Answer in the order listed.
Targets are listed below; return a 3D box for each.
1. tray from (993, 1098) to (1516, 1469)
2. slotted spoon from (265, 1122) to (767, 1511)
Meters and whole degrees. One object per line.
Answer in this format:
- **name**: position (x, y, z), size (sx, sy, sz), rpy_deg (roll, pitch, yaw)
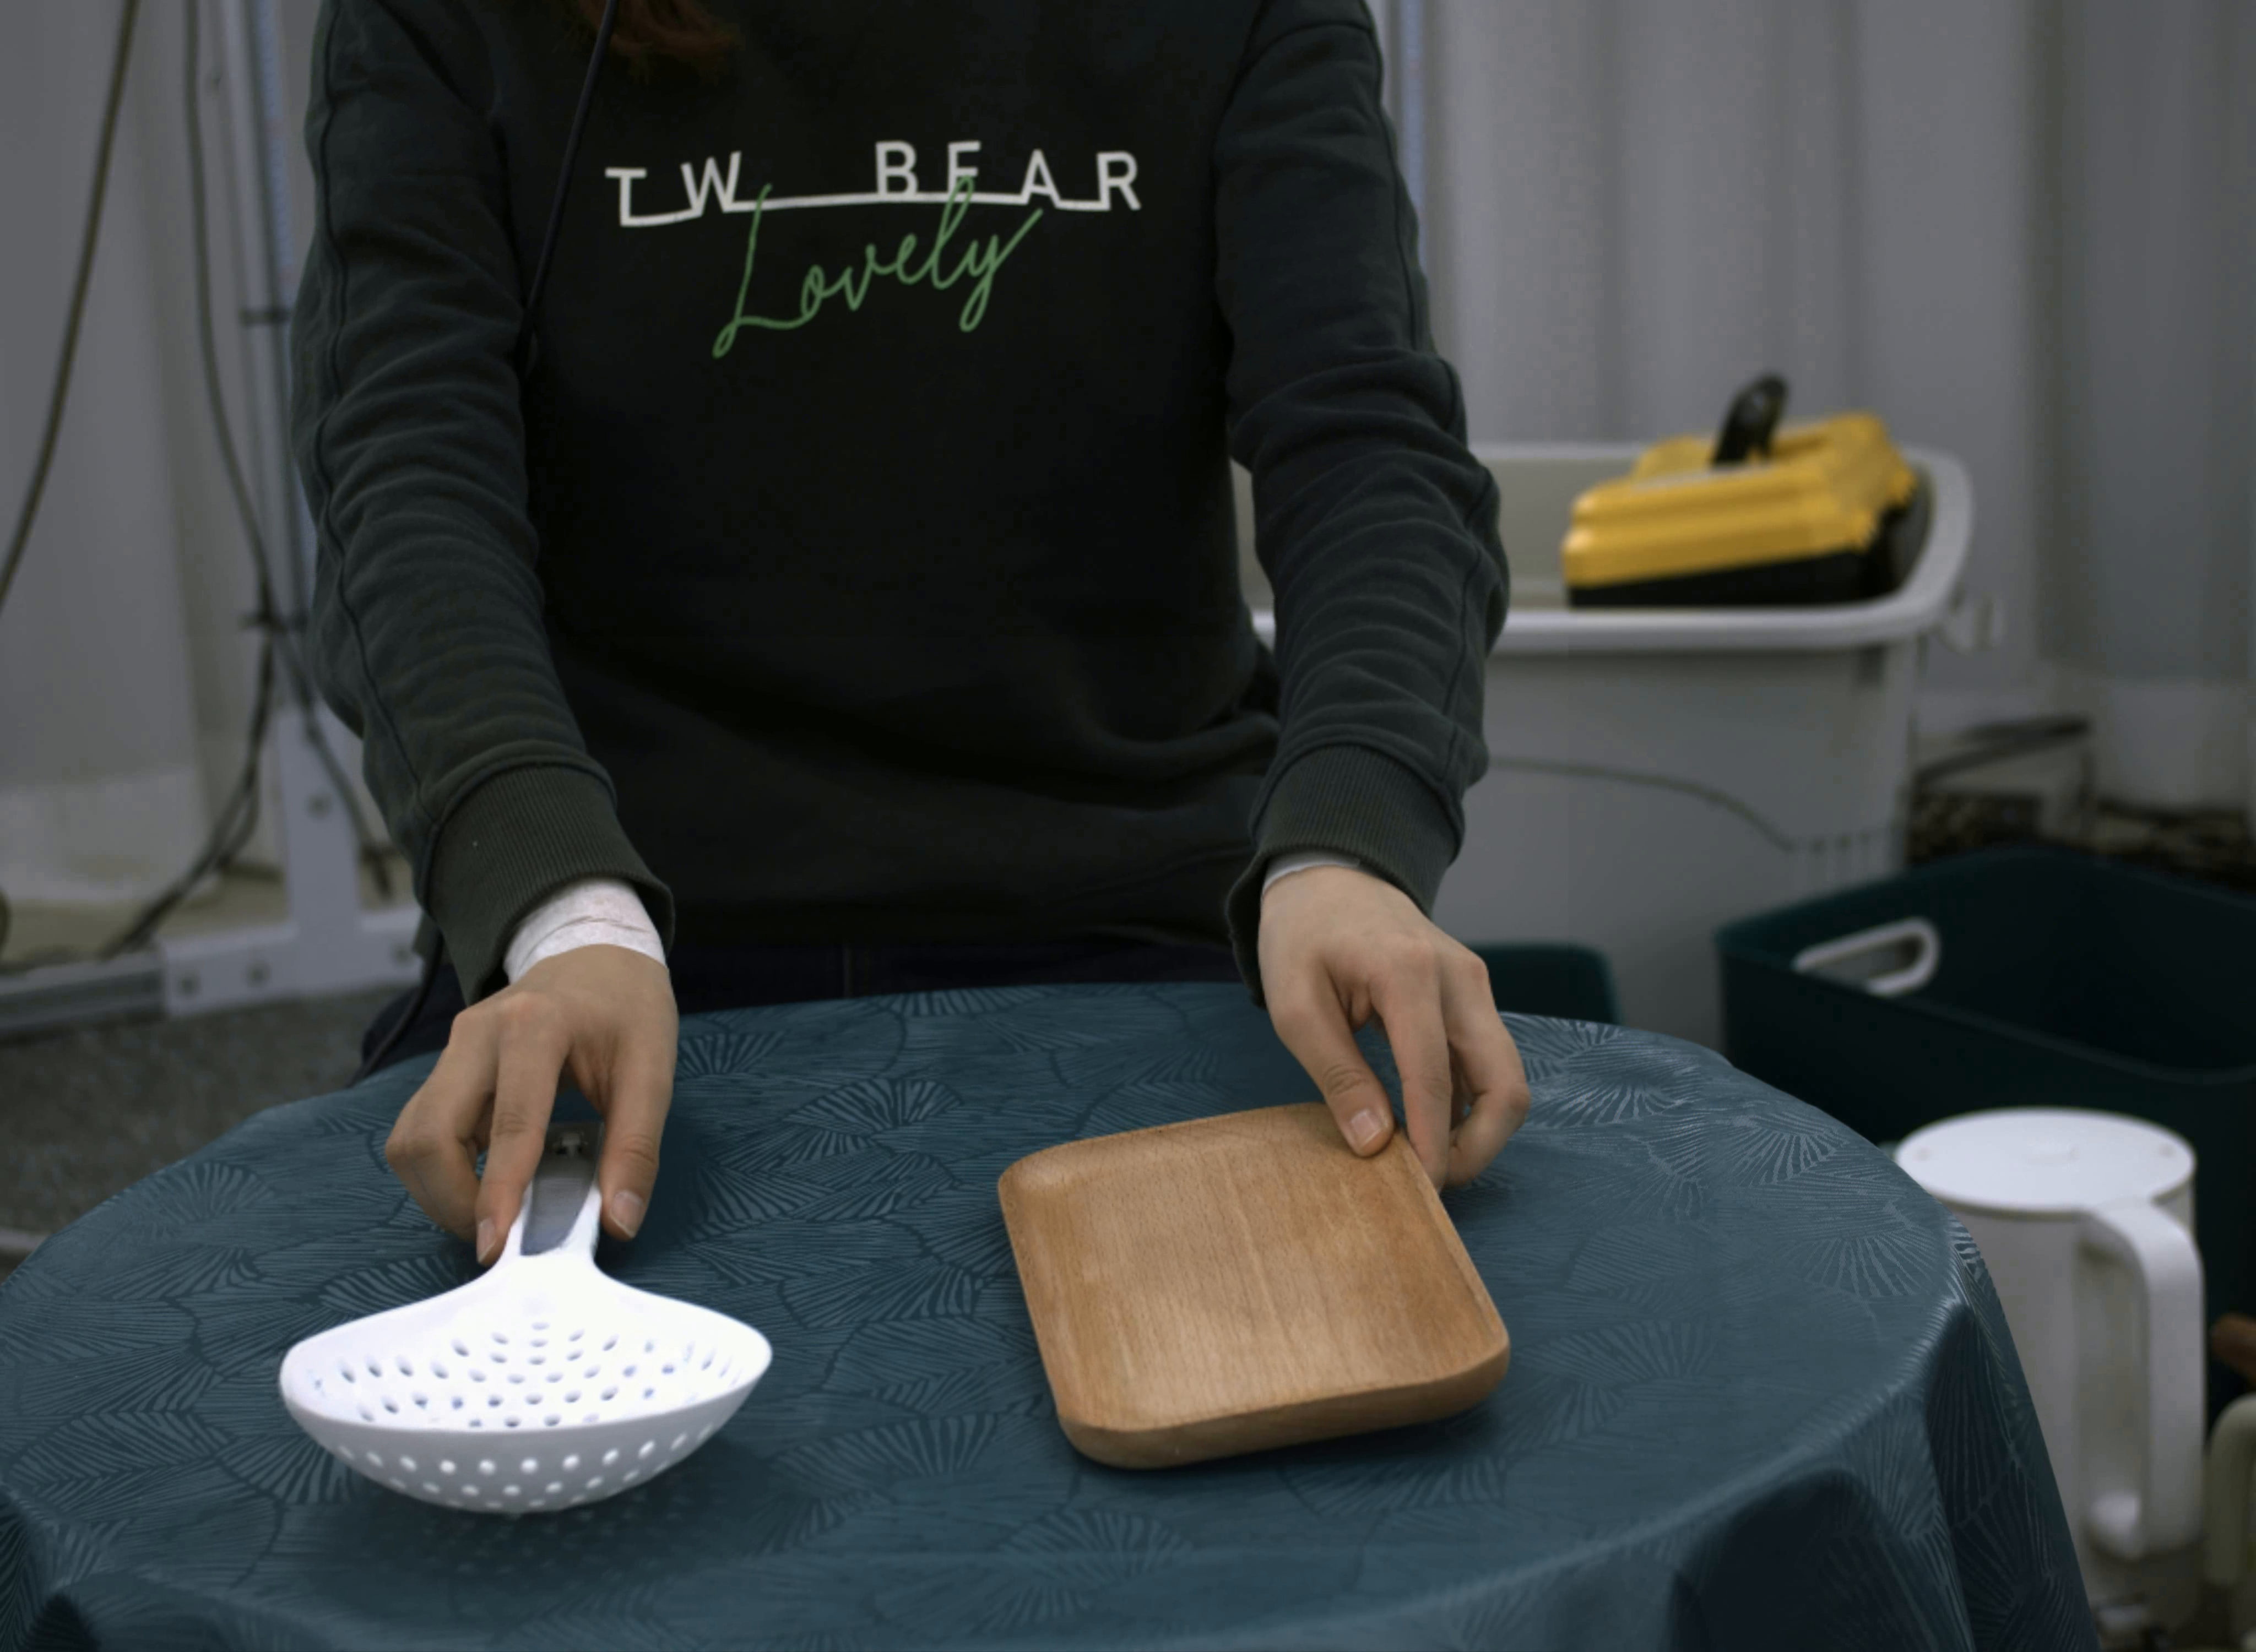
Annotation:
- **tray**: position (0.033, 0.131, 1.597), size (0.130, 0.023, 0.252), rpy_deg (-8, 14, -4)
- **slotted spoon**: position (-0.170, 0.133, 1.587), size (0.135, 0.045, 0.352), rpy_deg (0, 15, -2)
